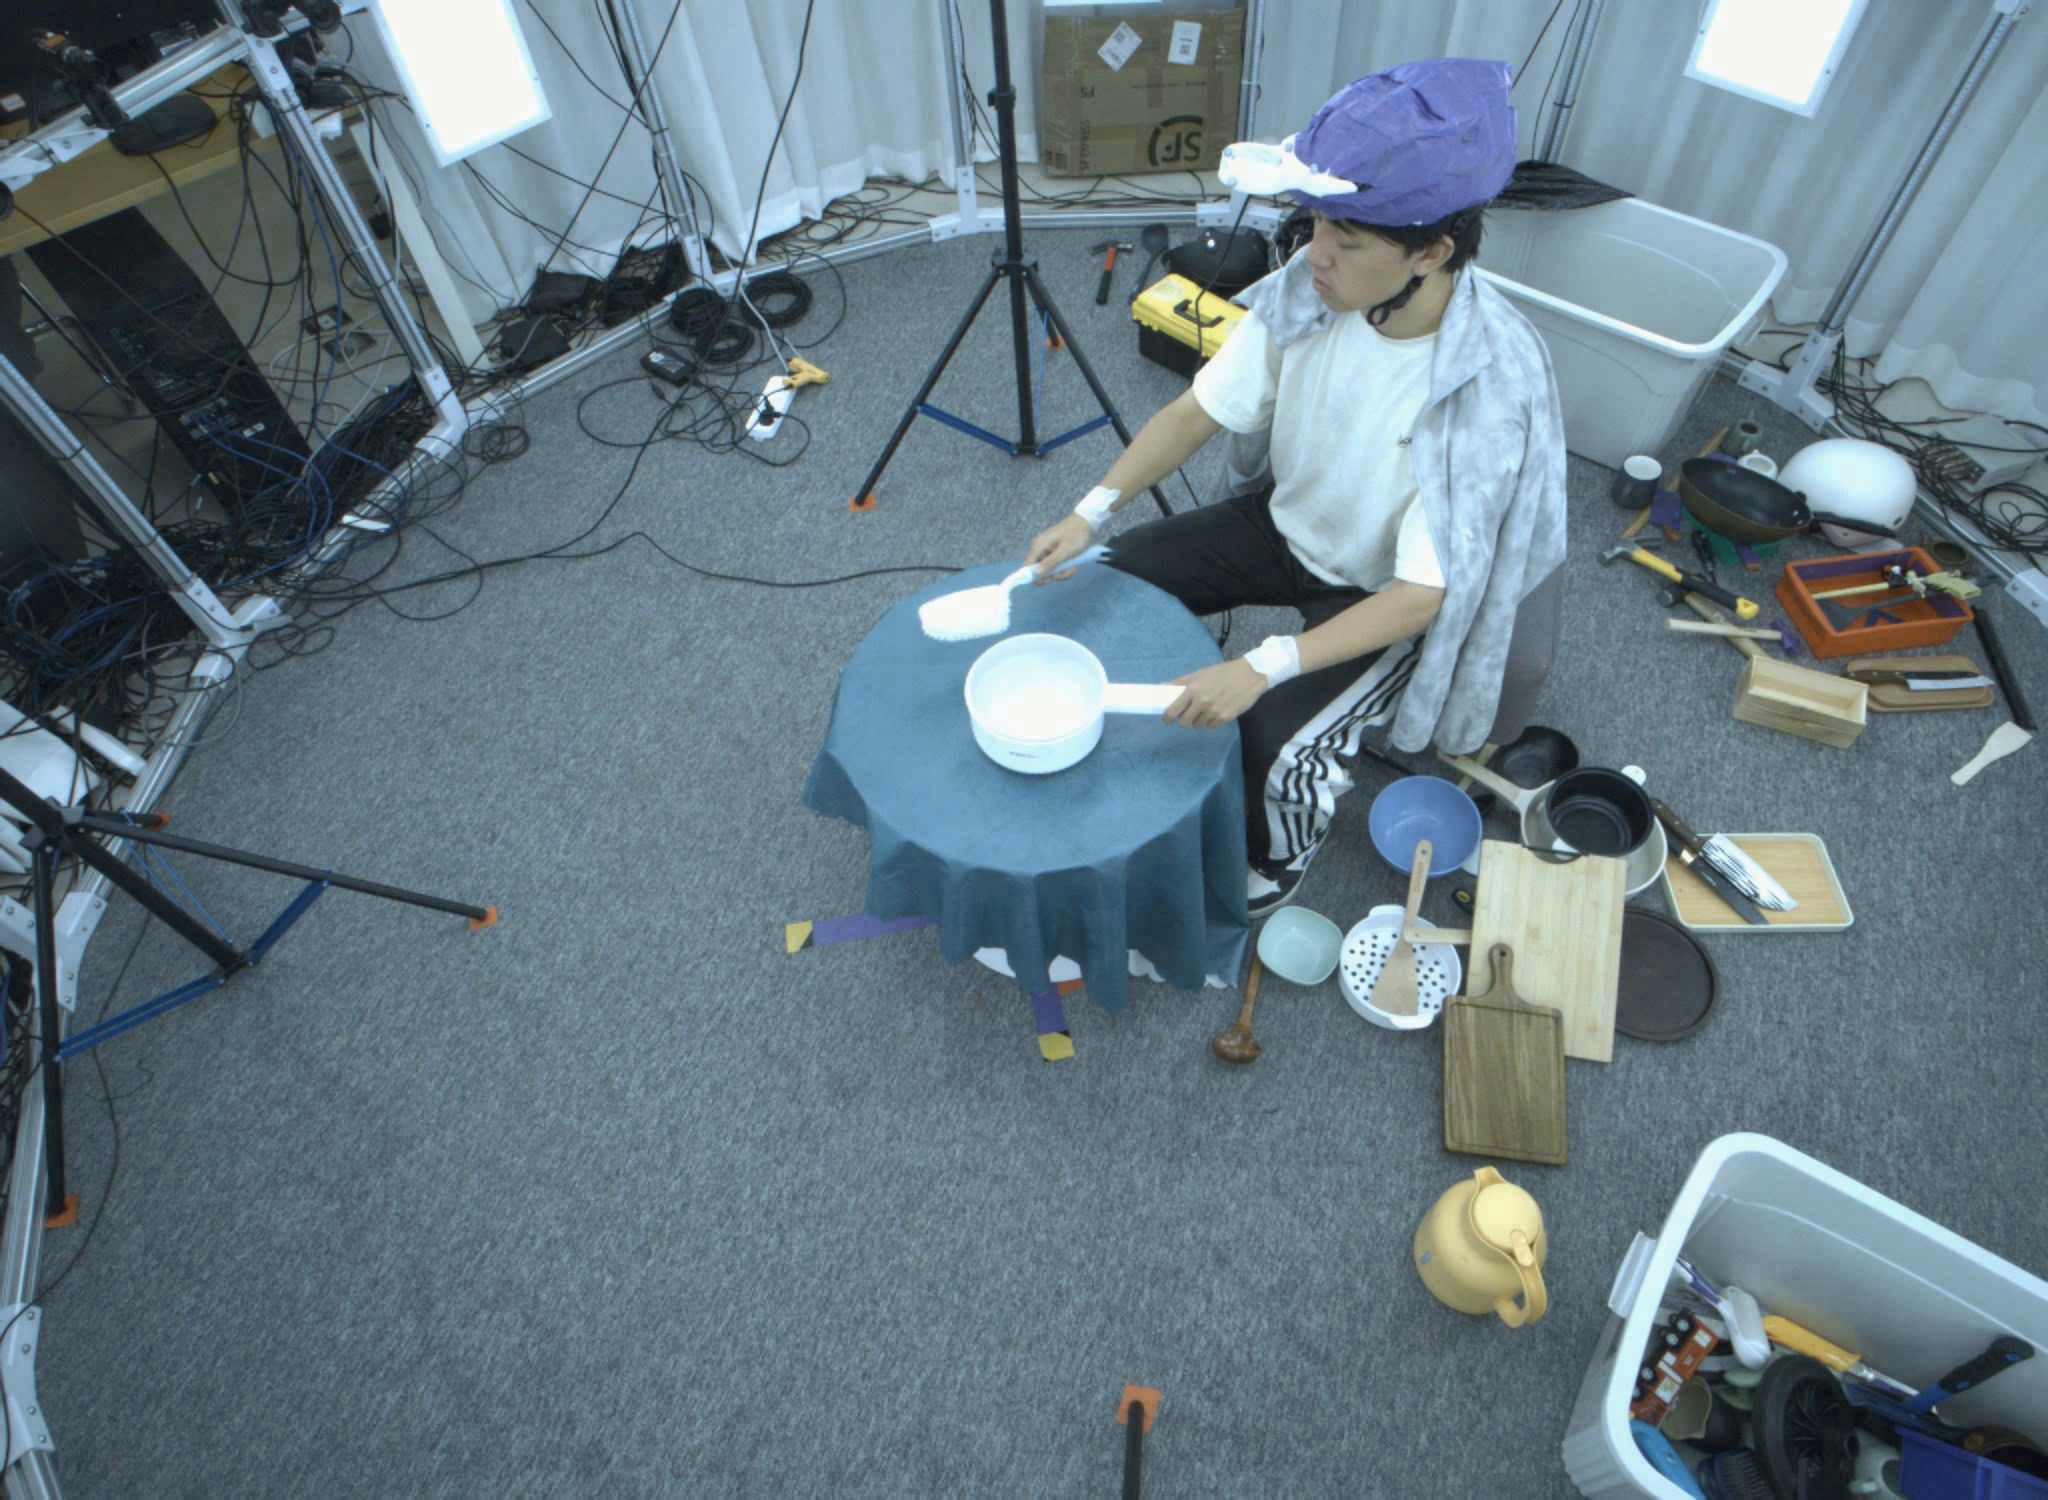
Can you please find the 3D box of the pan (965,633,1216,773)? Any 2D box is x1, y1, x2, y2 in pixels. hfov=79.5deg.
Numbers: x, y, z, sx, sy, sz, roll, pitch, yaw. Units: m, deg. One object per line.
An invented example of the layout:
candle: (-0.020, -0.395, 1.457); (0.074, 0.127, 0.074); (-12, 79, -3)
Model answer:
pan: (0.095, -0.059, 1.766); (0.354, 0.103, 0.199); (3, 55, 3)

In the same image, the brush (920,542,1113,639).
brush: (0.003, -0.236, 1.825); (0.329, 0.082, 0.084); (-21, 92, -19)
